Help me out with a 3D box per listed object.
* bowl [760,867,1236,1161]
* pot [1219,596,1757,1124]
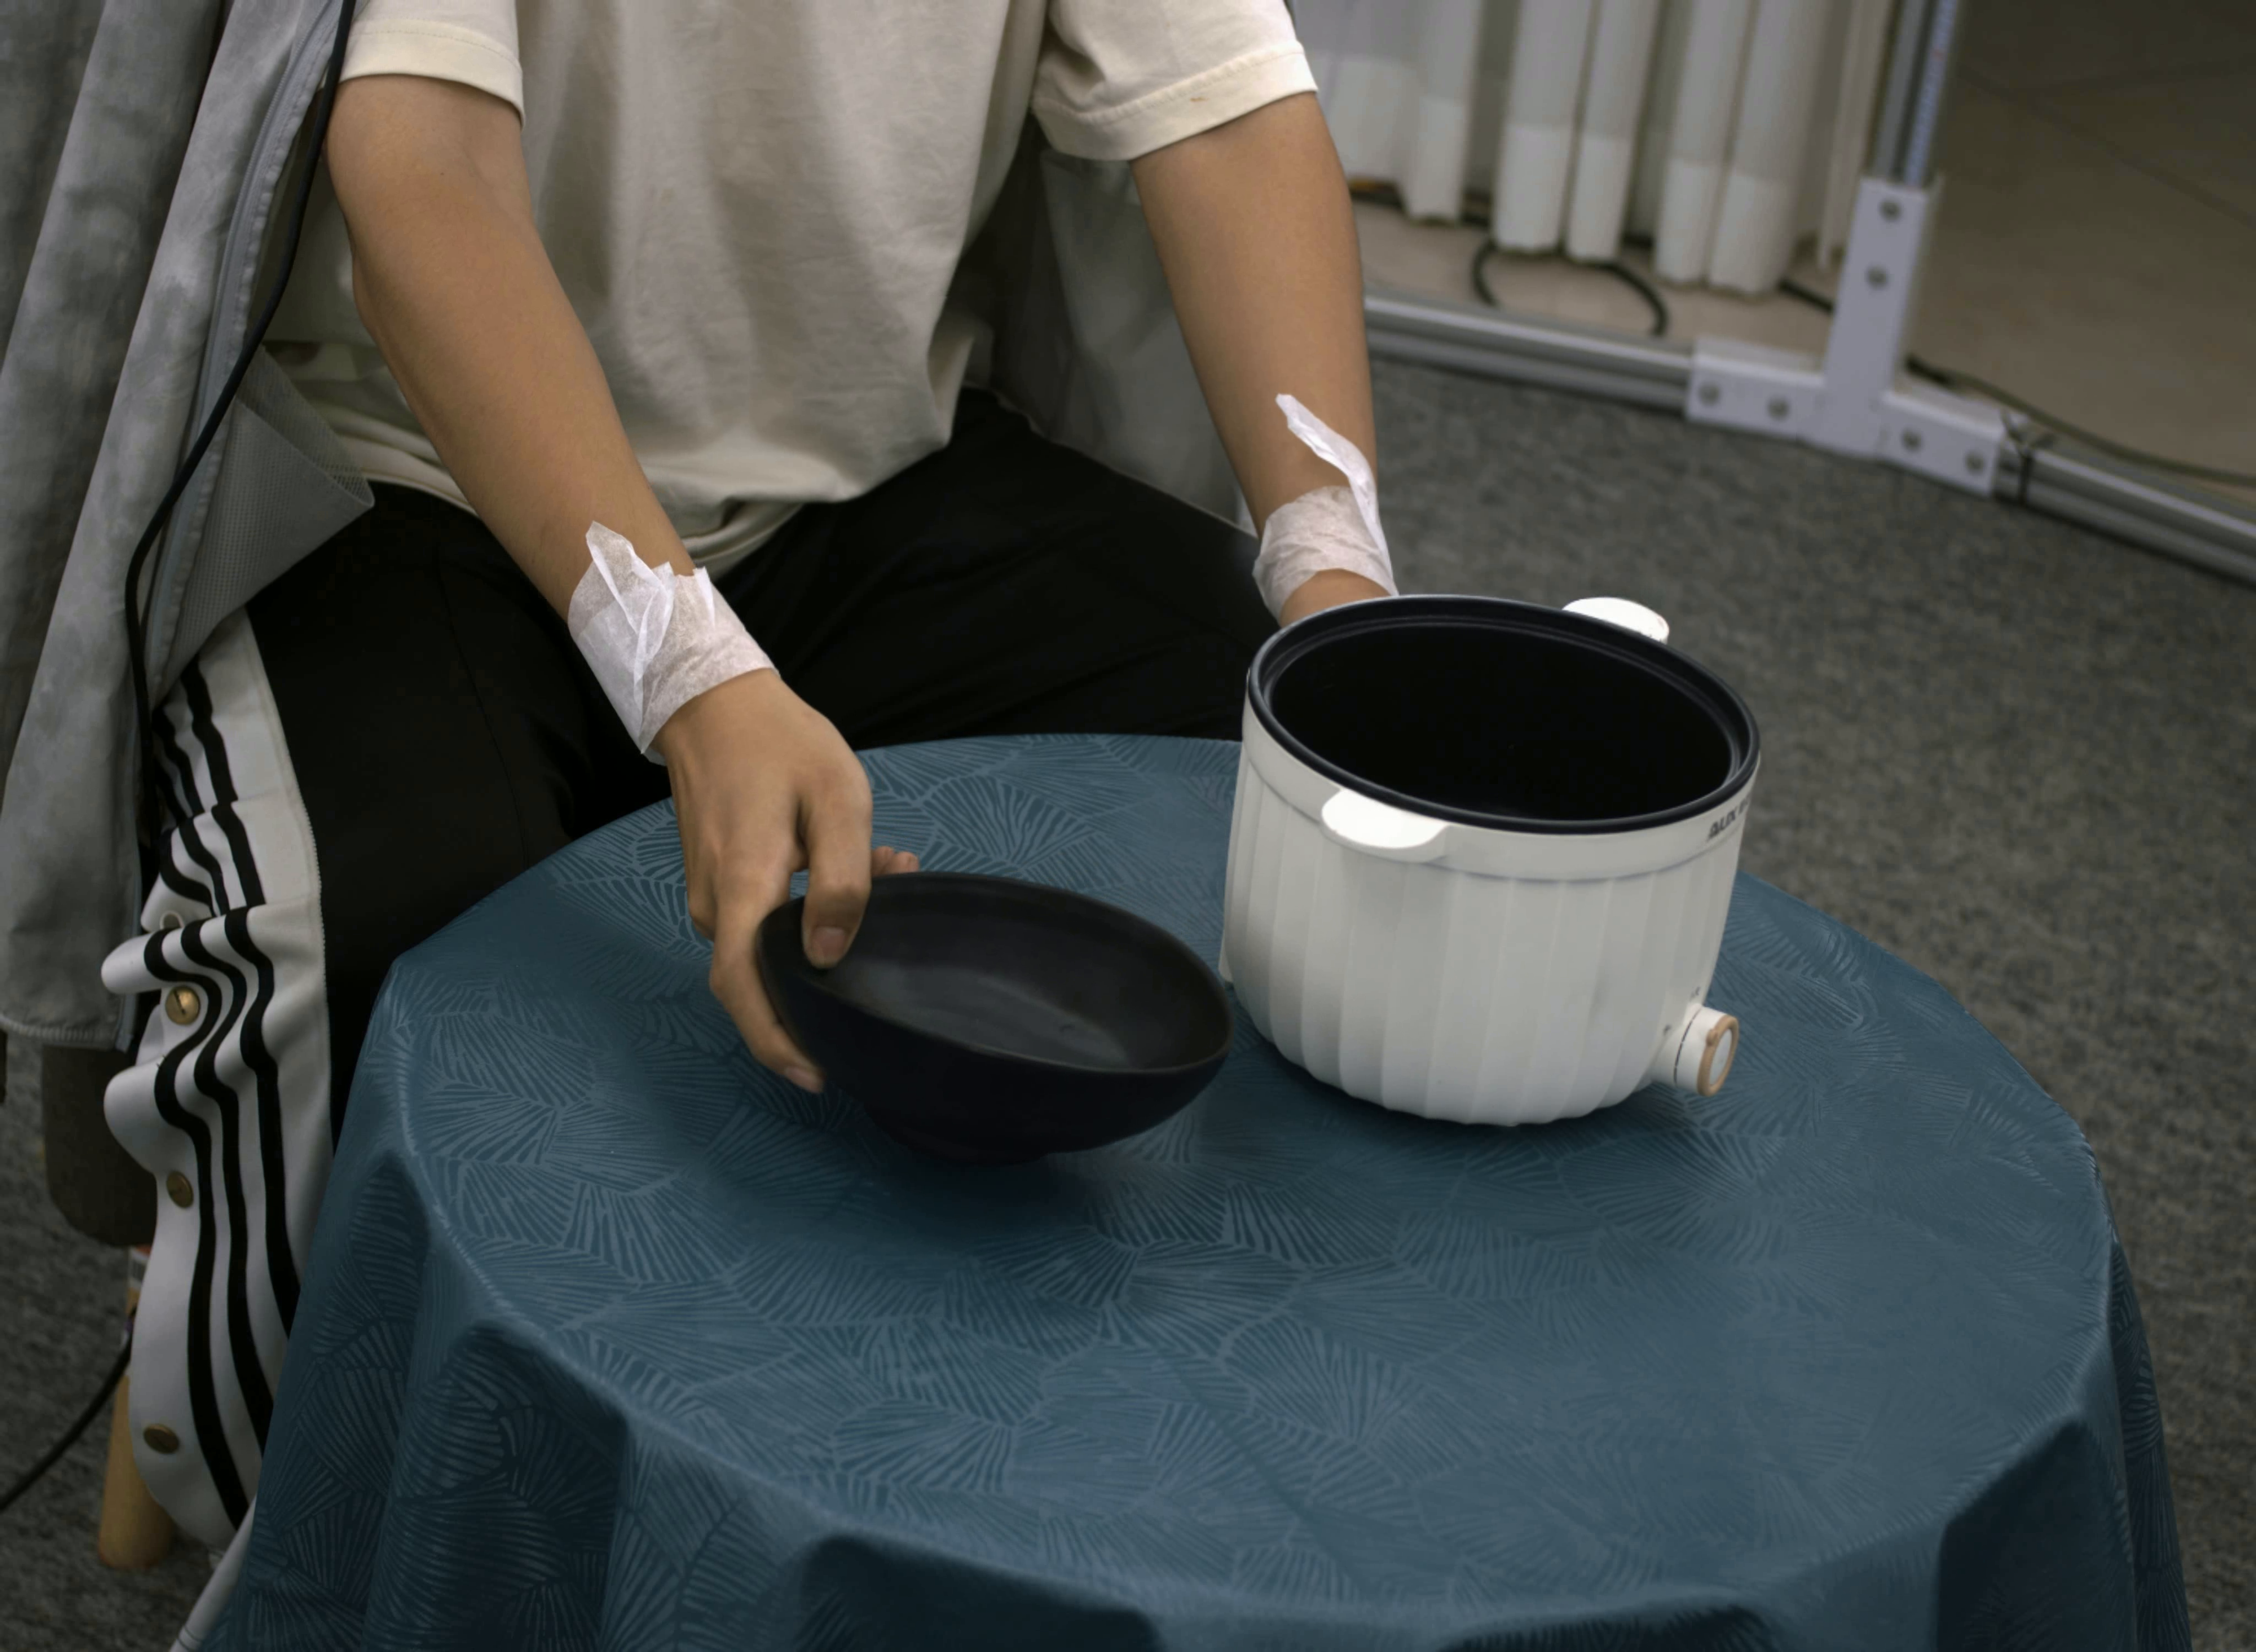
[{"bbox_3d":[-0.049,0.071,1.803,0.171,0.066,0.137,17,25,19],"label":"bowl"},{"bbox_3d":[0.129,0.017,1.891,0.191,0.142,0.240,15,28,23],"label":"pot"}]
